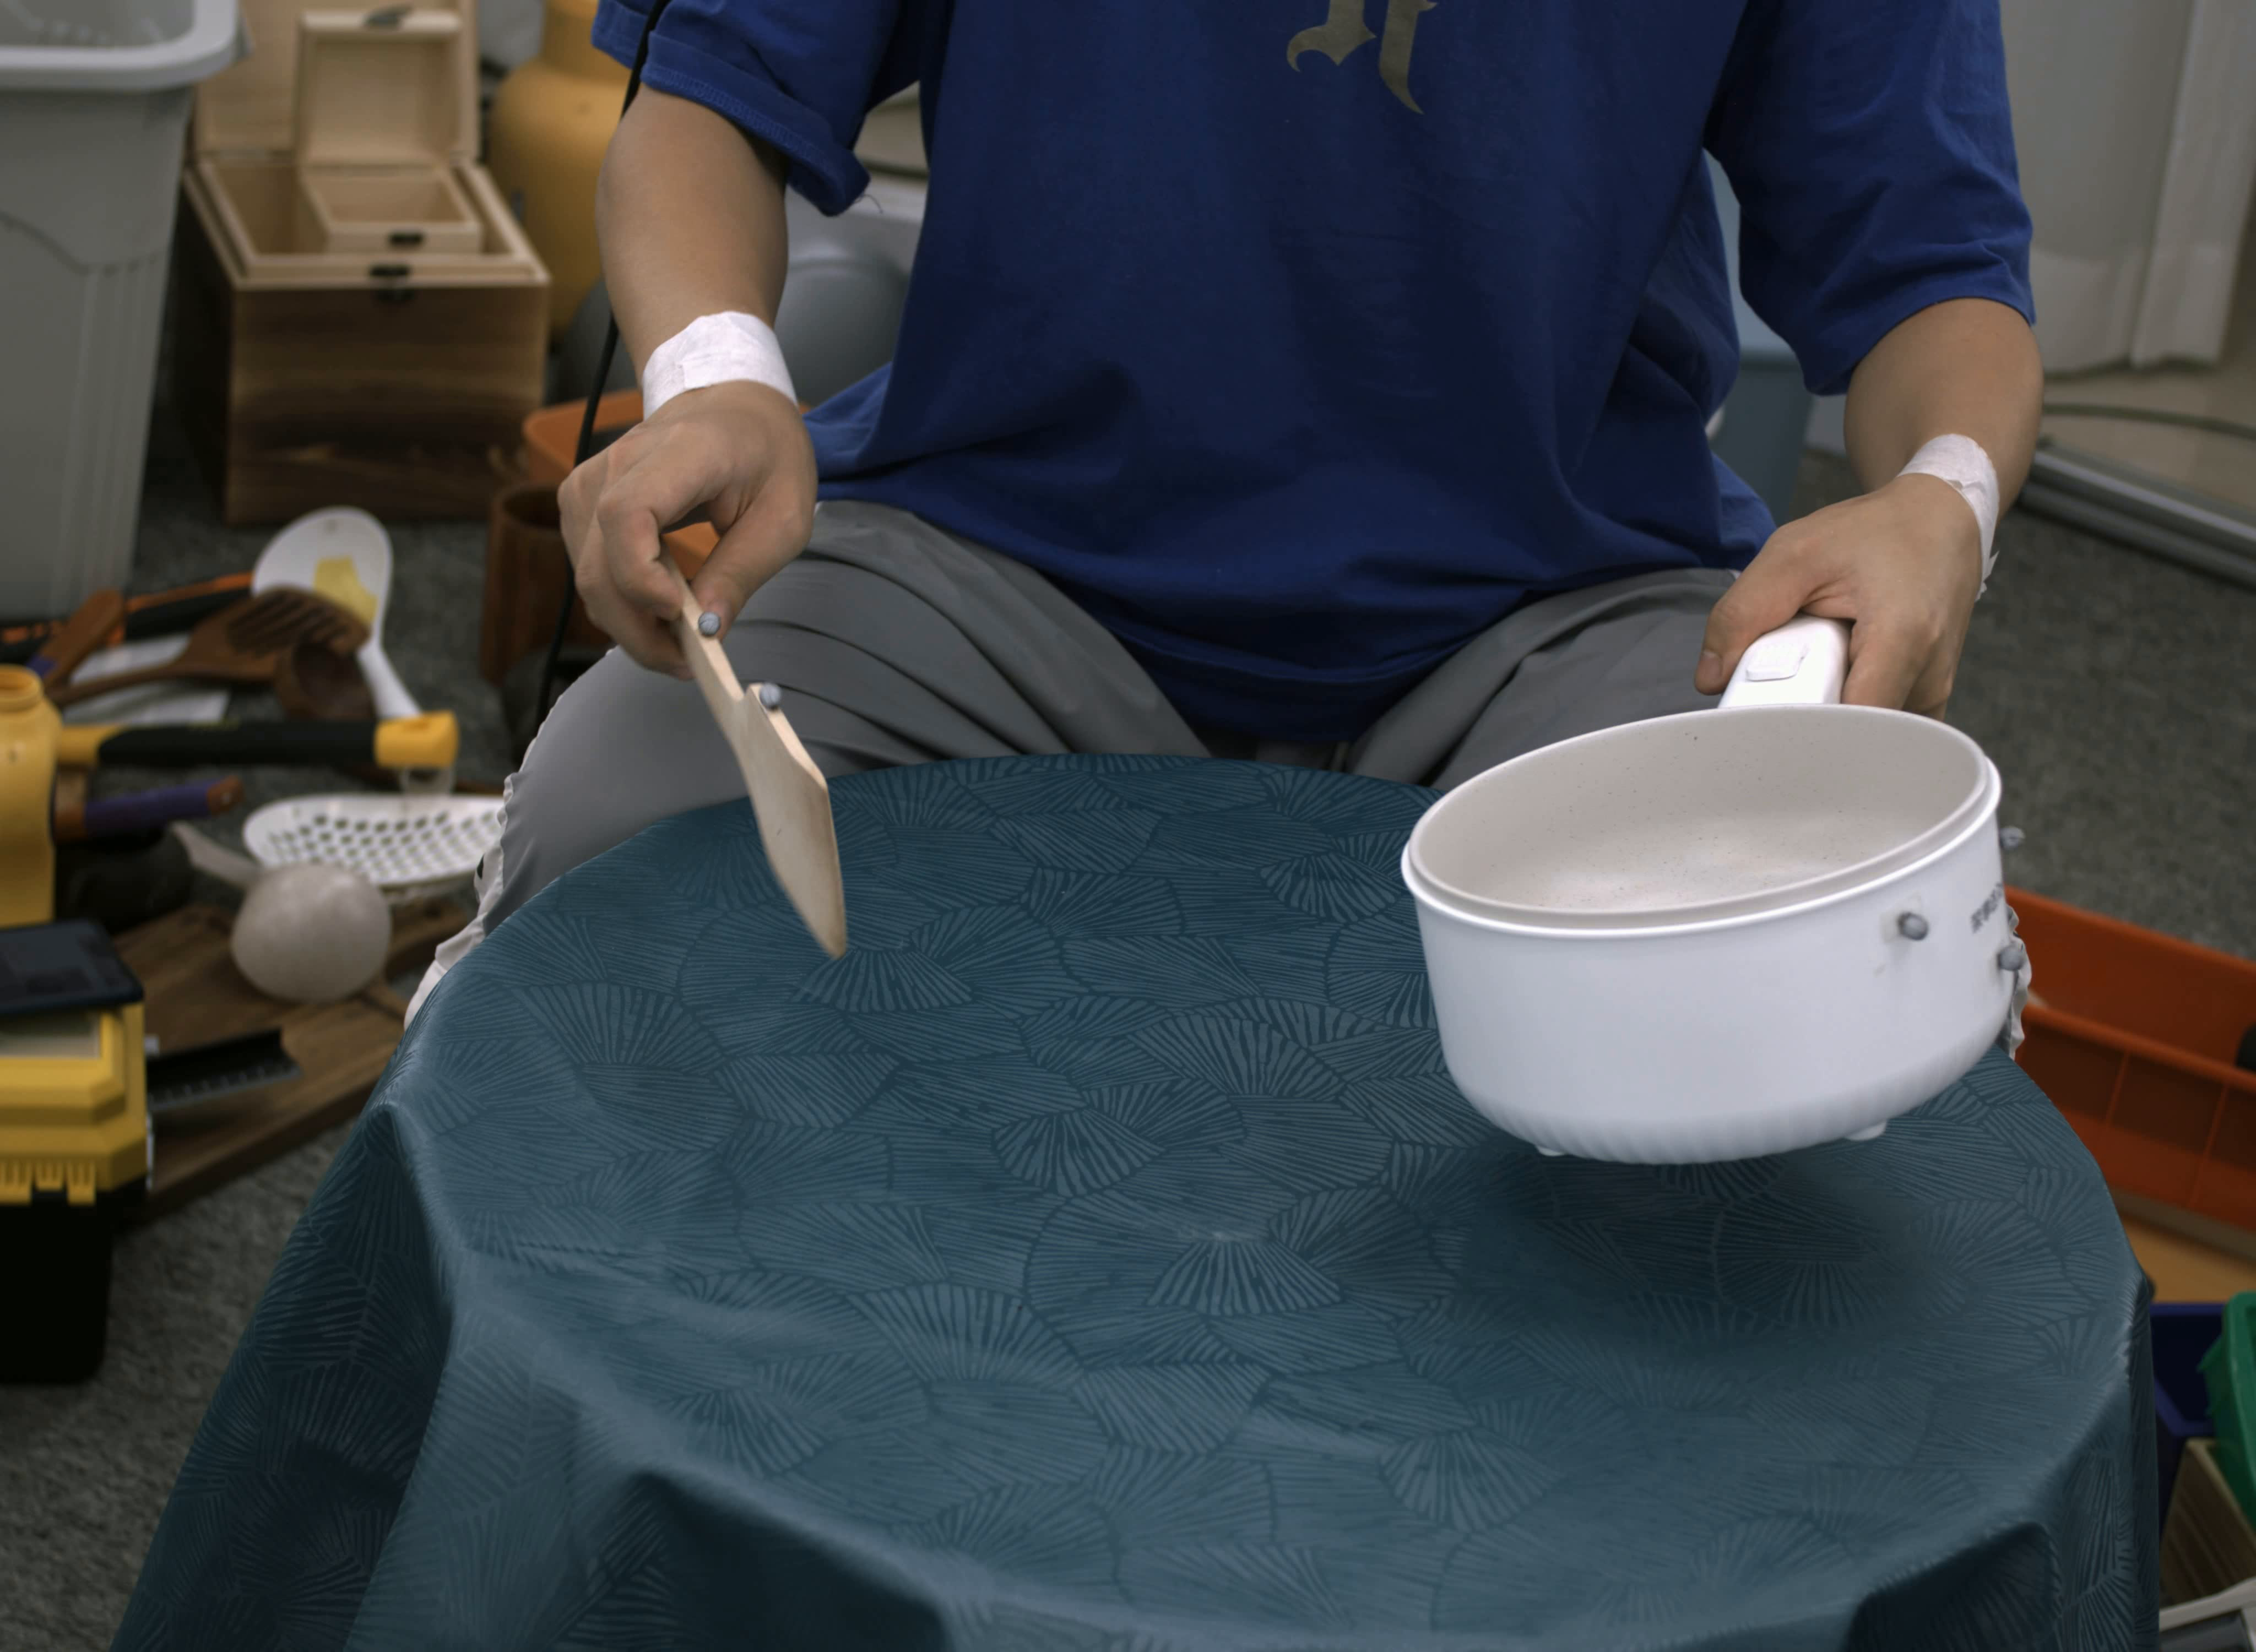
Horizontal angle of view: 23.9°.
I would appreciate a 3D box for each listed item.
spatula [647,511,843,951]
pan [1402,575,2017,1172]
[{"bbox_3d":[-0.141,-0.049,1.895,0.010,0.072,0.295,-14,28,-10],"label":"spatula"},{"bbox_3d":[0.219,0.014,1.858,0.201,0.102,0.355,-7,19,19],"label":"pan"}]
